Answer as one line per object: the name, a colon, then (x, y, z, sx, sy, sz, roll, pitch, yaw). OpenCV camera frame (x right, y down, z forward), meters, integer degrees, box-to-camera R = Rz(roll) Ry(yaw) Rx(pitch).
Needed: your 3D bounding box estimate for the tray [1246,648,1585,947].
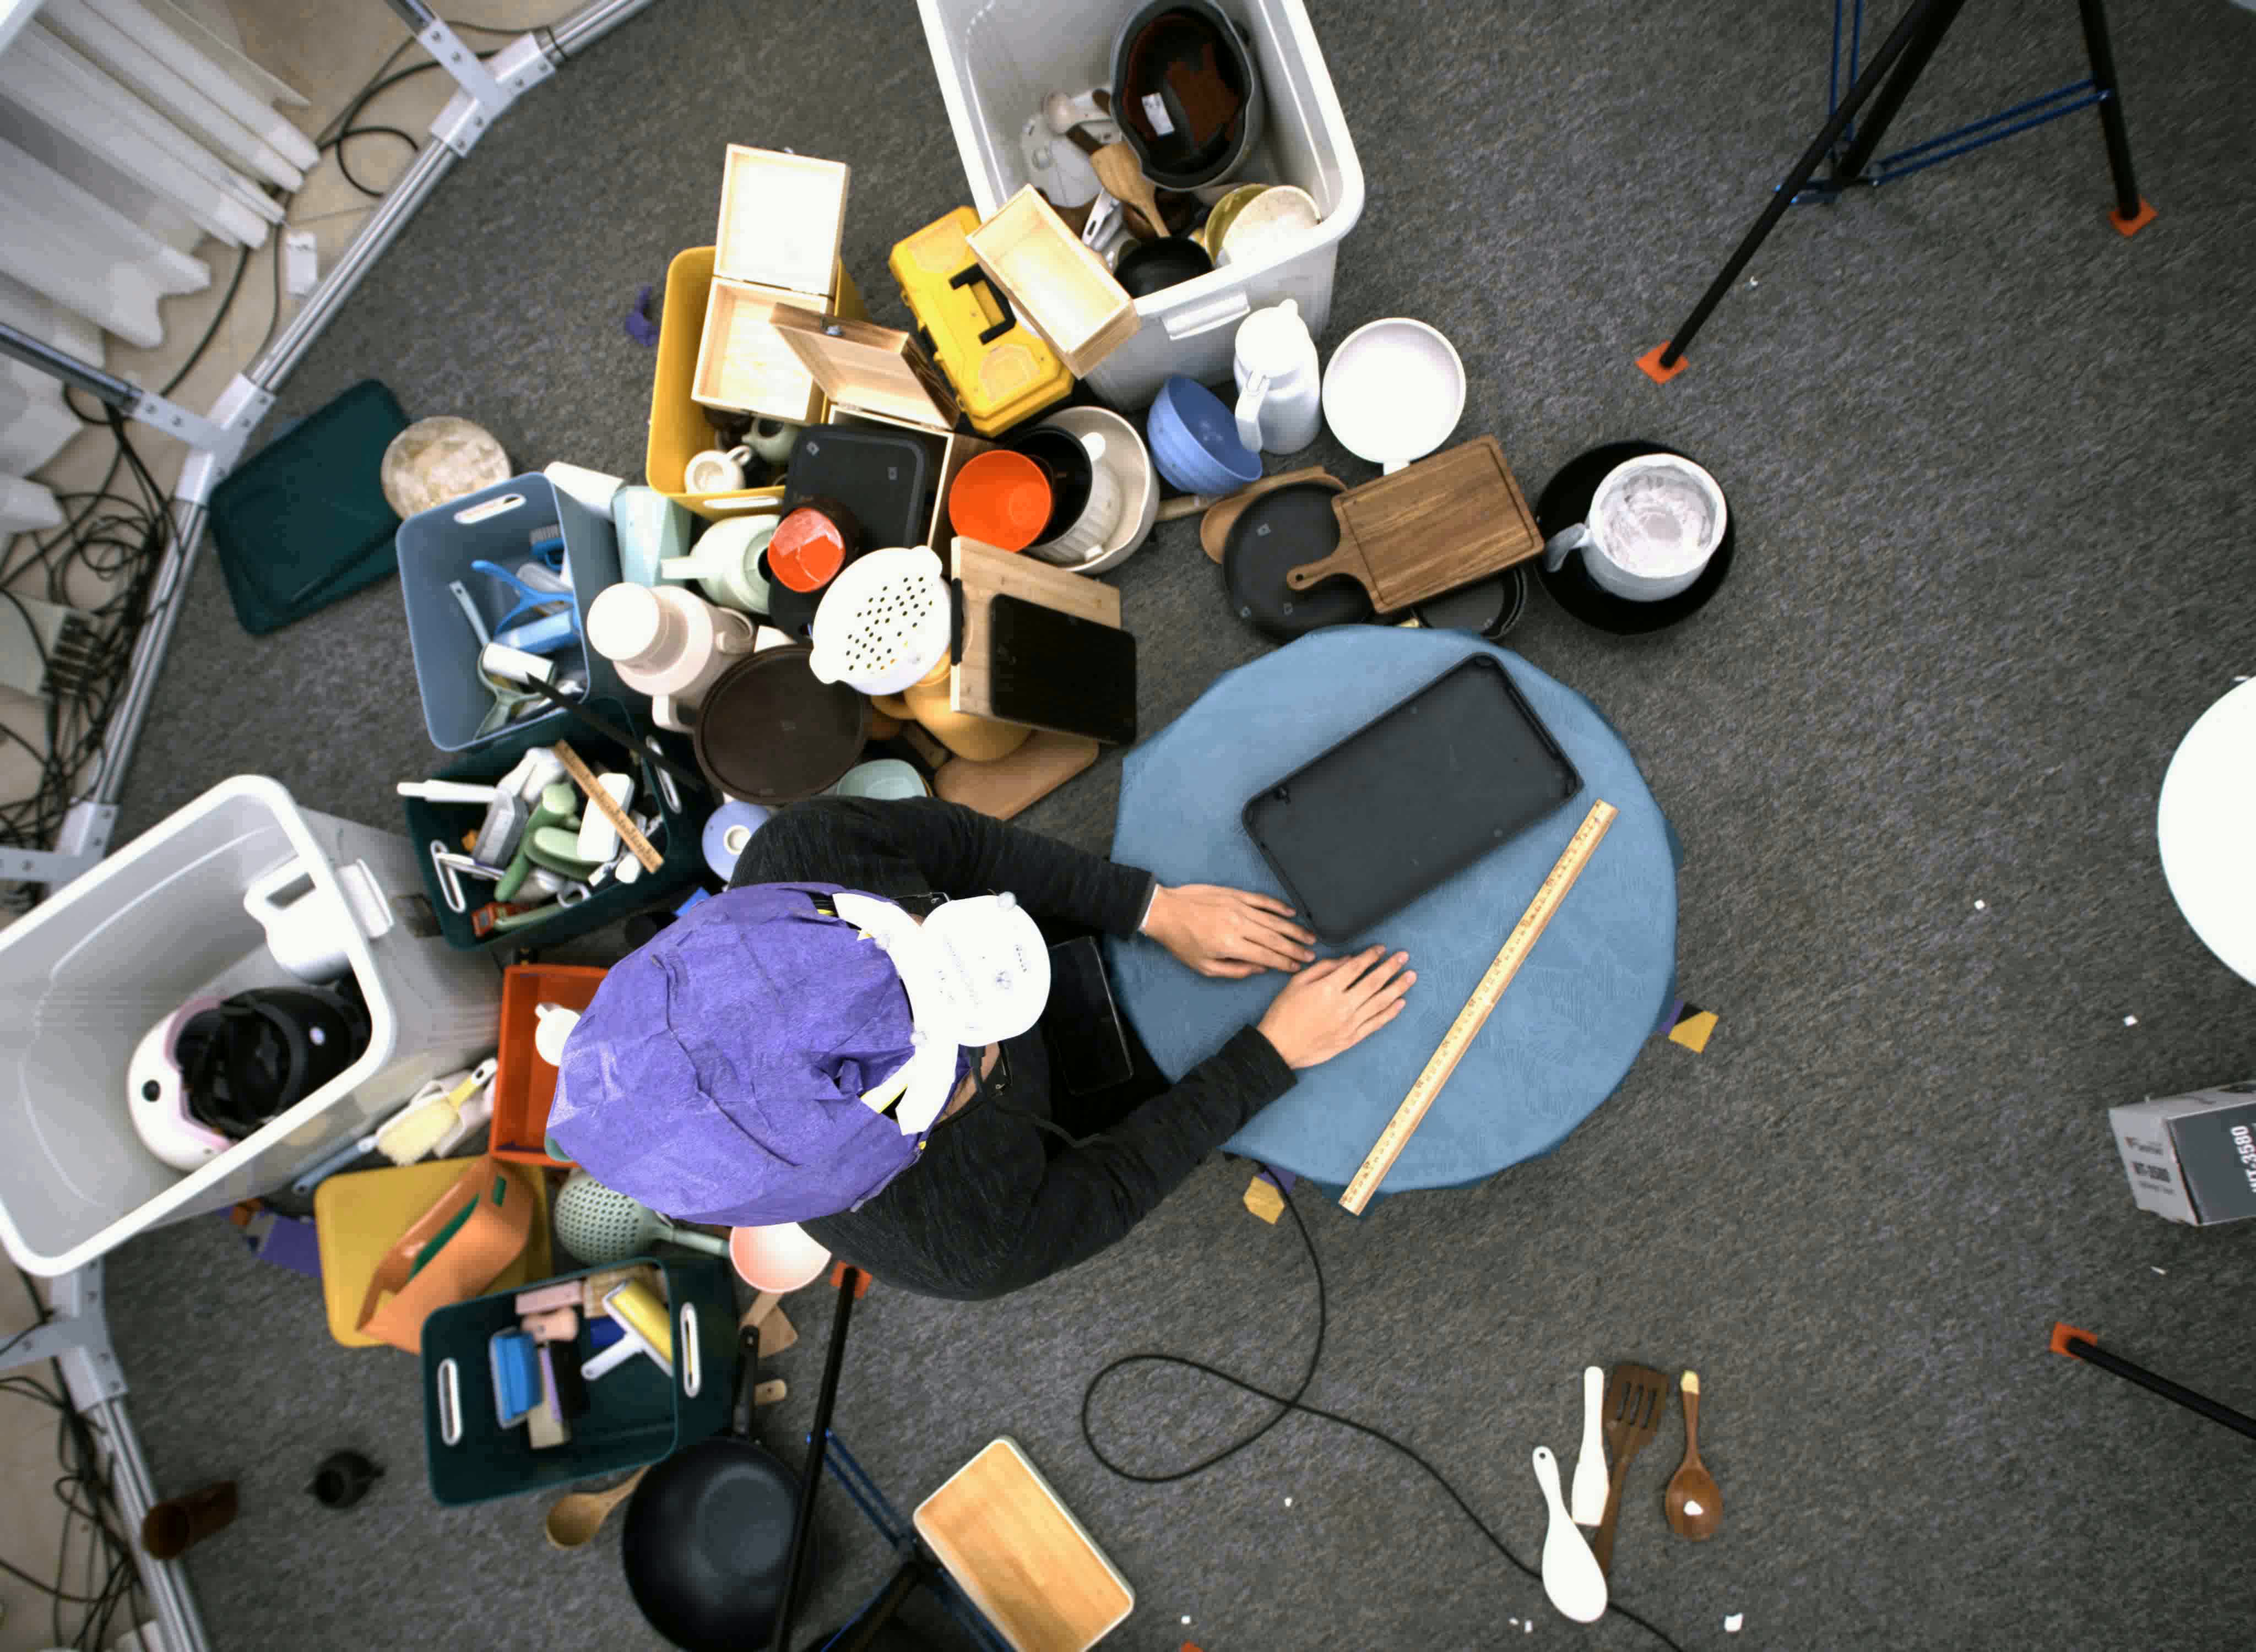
tray: (0.298, -0.030, 1.443, 0.320, 0.037, 0.183, -35, 81, 7)

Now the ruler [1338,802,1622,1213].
ruler: (0.365, 0.186, 1.433, 0.027, 0.006, 0.501, 34, 93, 13)
